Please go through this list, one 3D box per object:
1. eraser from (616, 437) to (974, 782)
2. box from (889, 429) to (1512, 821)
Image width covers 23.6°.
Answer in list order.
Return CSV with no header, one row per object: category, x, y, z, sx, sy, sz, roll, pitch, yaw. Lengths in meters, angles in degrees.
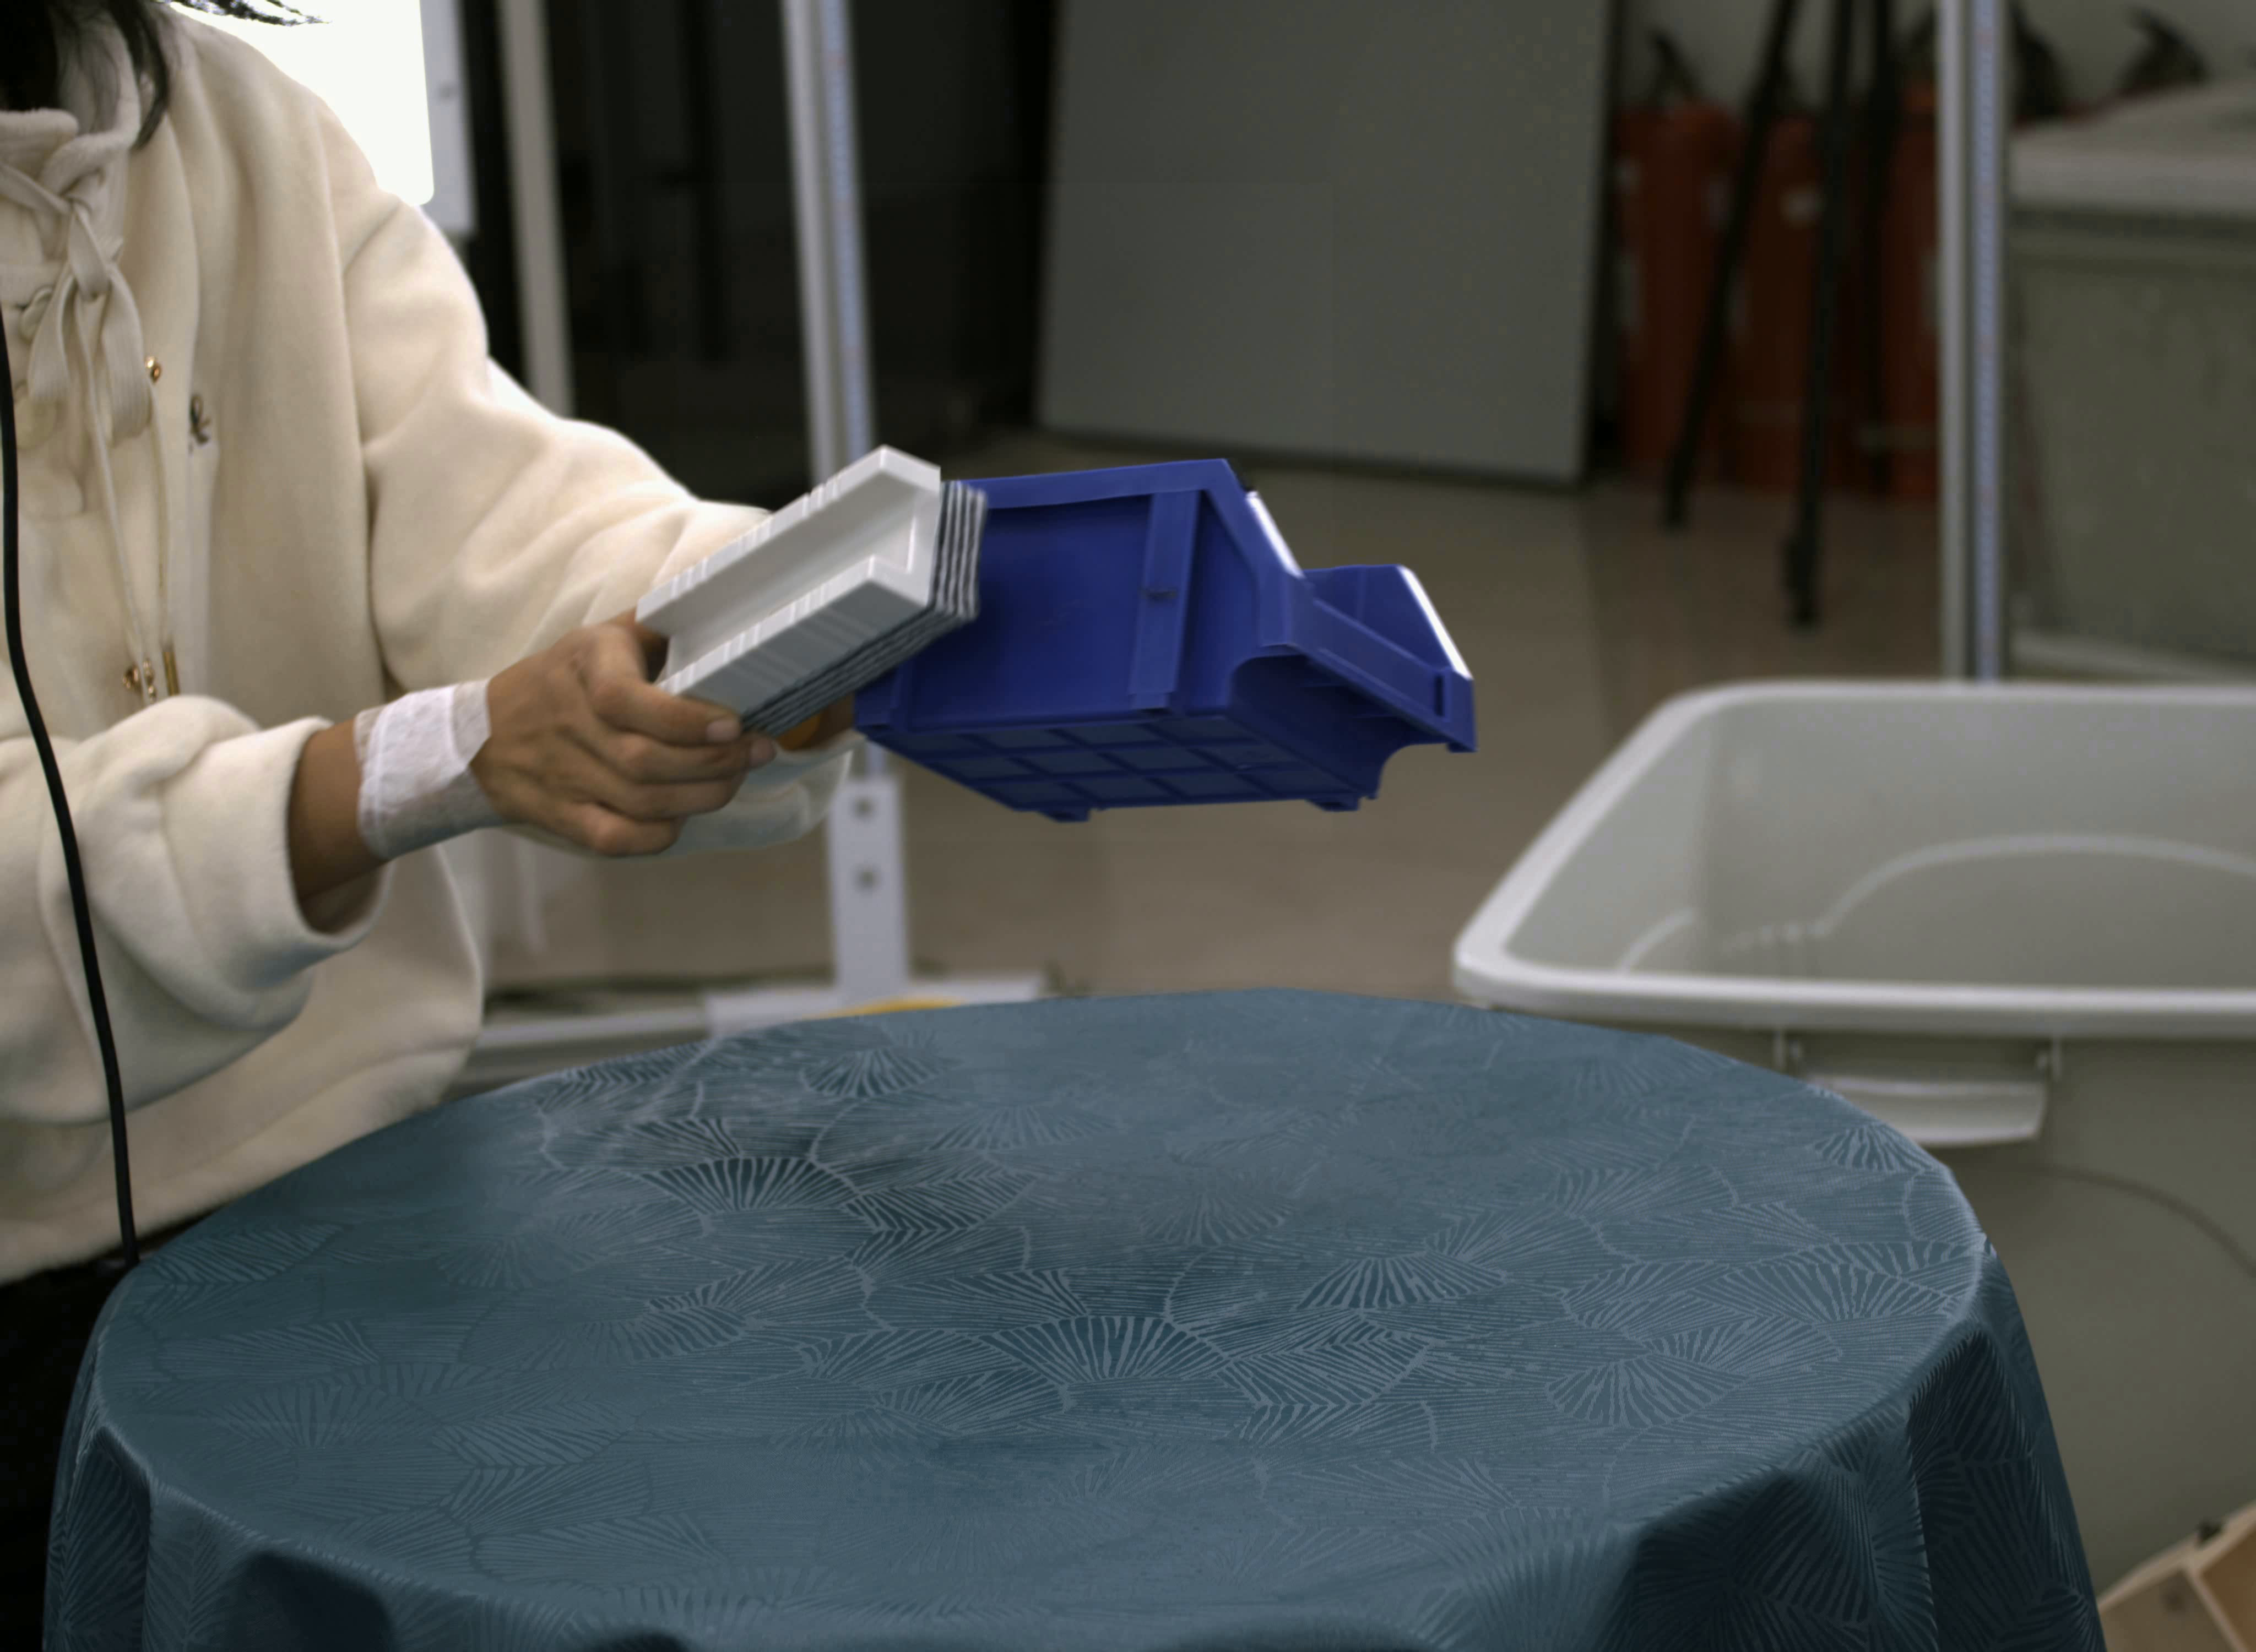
eraser,-0.105,-0.066,1.695,0.045,0.050,0.135,24,-37,-32
box,0.019,-0.061,1.706,0.180,0.083,0.122,-6,-20,35
